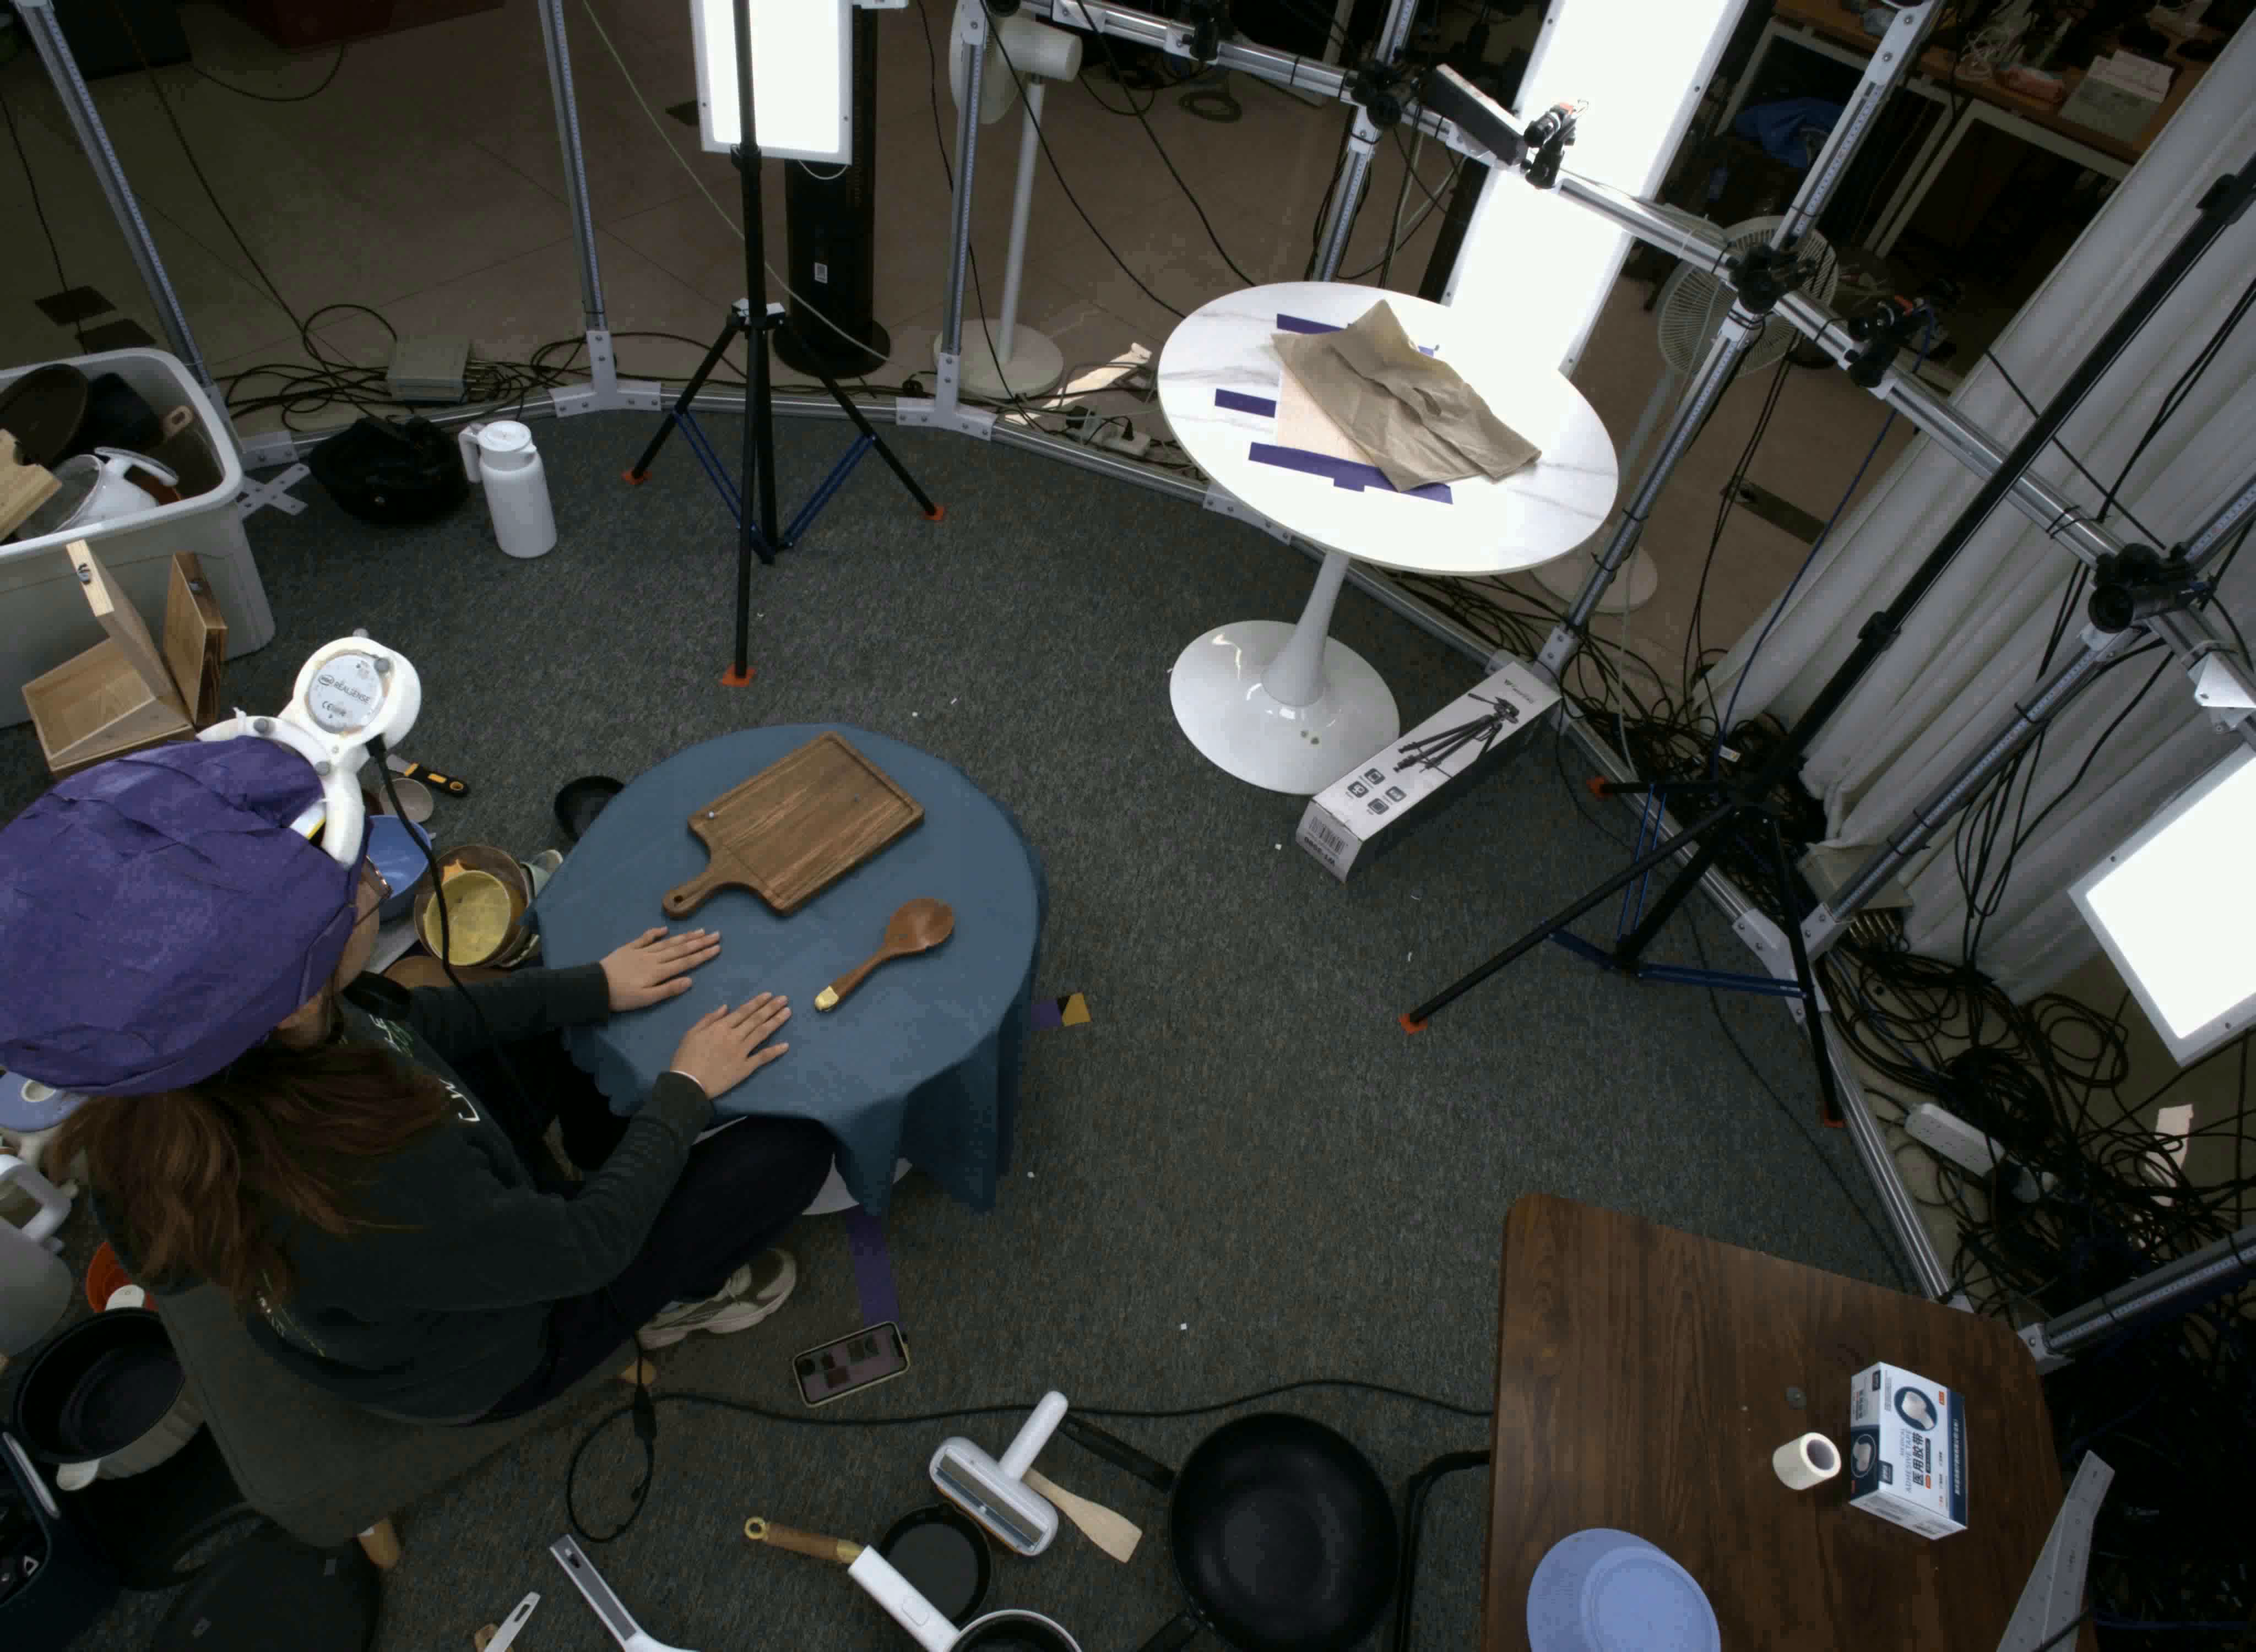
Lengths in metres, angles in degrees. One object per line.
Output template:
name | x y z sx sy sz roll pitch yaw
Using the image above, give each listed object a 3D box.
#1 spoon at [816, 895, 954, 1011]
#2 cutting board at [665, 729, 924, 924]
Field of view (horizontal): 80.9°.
spoon | -0.306 0.159 1.630 0.074 0.017 0.216 40 54 14
cutting board | -0.458 0.016 1.697 0.197 0.023 0.352 41 55 15
